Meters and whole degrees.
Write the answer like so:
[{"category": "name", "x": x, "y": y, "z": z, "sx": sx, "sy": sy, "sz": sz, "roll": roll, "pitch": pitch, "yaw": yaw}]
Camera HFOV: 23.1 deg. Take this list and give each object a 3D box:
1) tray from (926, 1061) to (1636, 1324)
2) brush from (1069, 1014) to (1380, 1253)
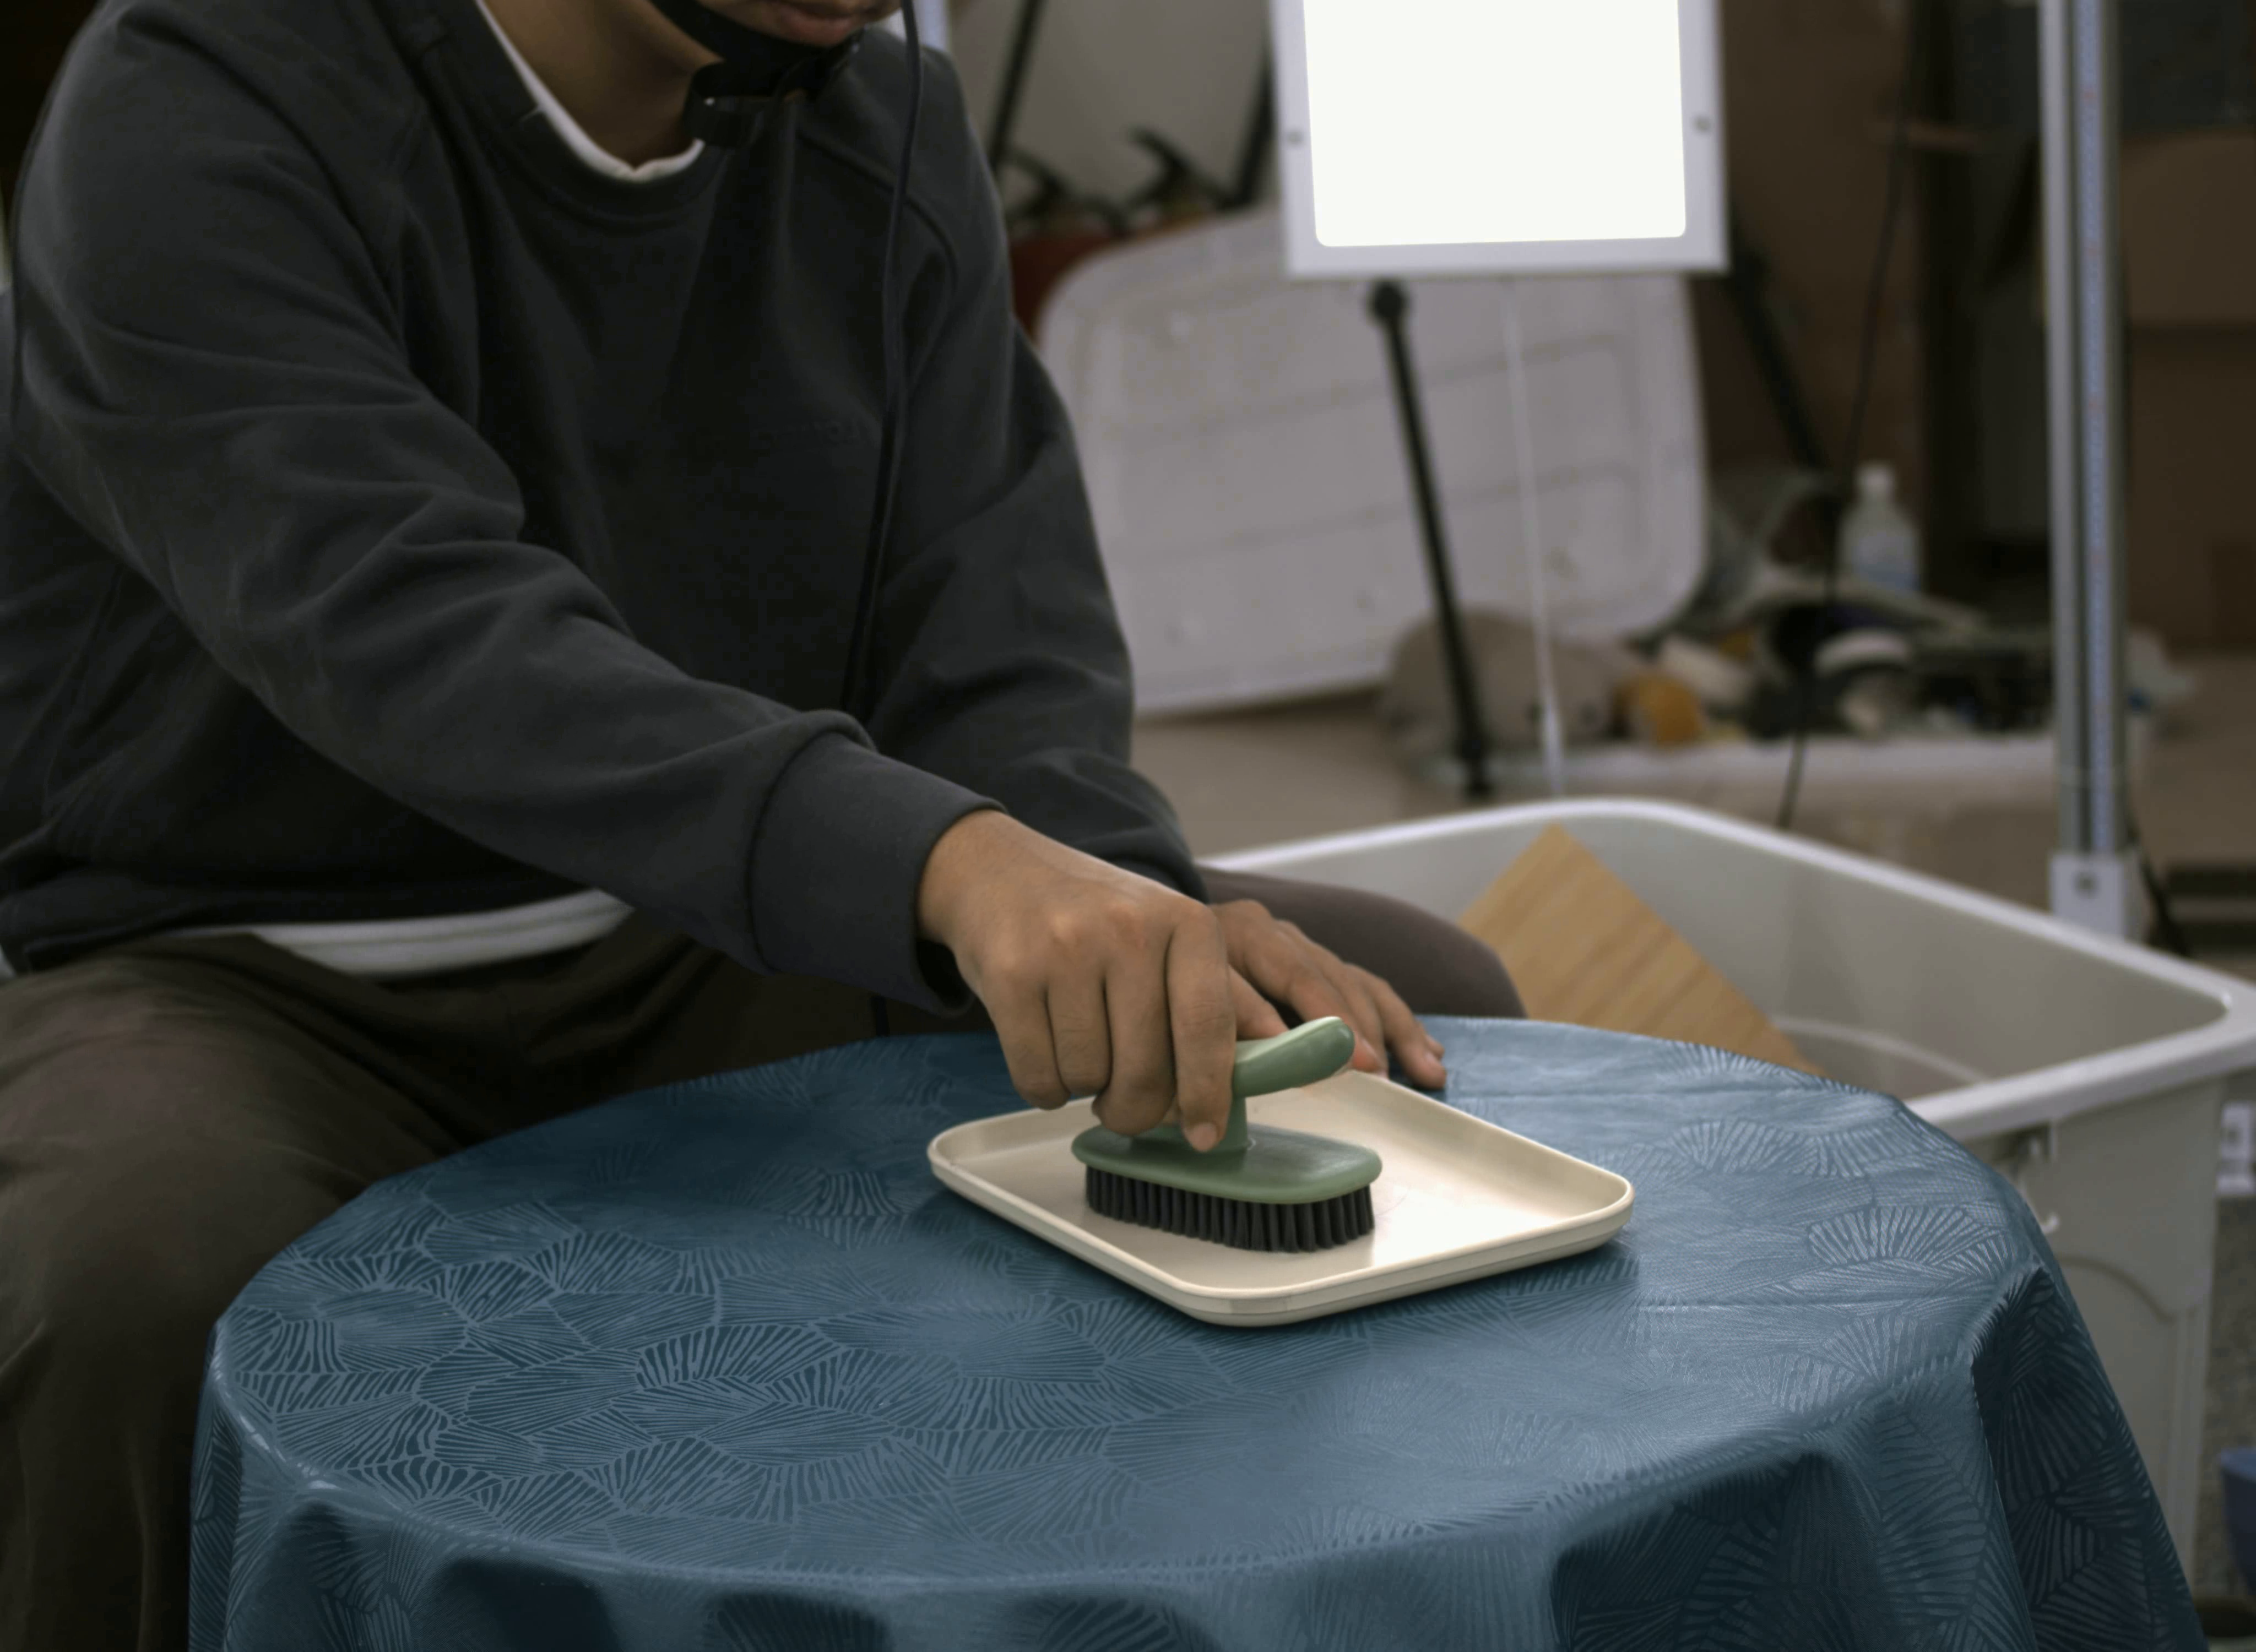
[{"category": "tray", "x": 0.049, "y": 0.122, "z": 1.860, "sx": 0.168, "sy": 0.017, "sz": 0.243, "roll": -11, "pitch": 14, "yaw": -25}, {"category": "brush", "x": 0.033, "y": 0.106, "z": 1.847, "sx": 0.058, "sy": 0.076, "sz": 0.126, "roll": -17, "pitch": 5, "yaw": -43}]
